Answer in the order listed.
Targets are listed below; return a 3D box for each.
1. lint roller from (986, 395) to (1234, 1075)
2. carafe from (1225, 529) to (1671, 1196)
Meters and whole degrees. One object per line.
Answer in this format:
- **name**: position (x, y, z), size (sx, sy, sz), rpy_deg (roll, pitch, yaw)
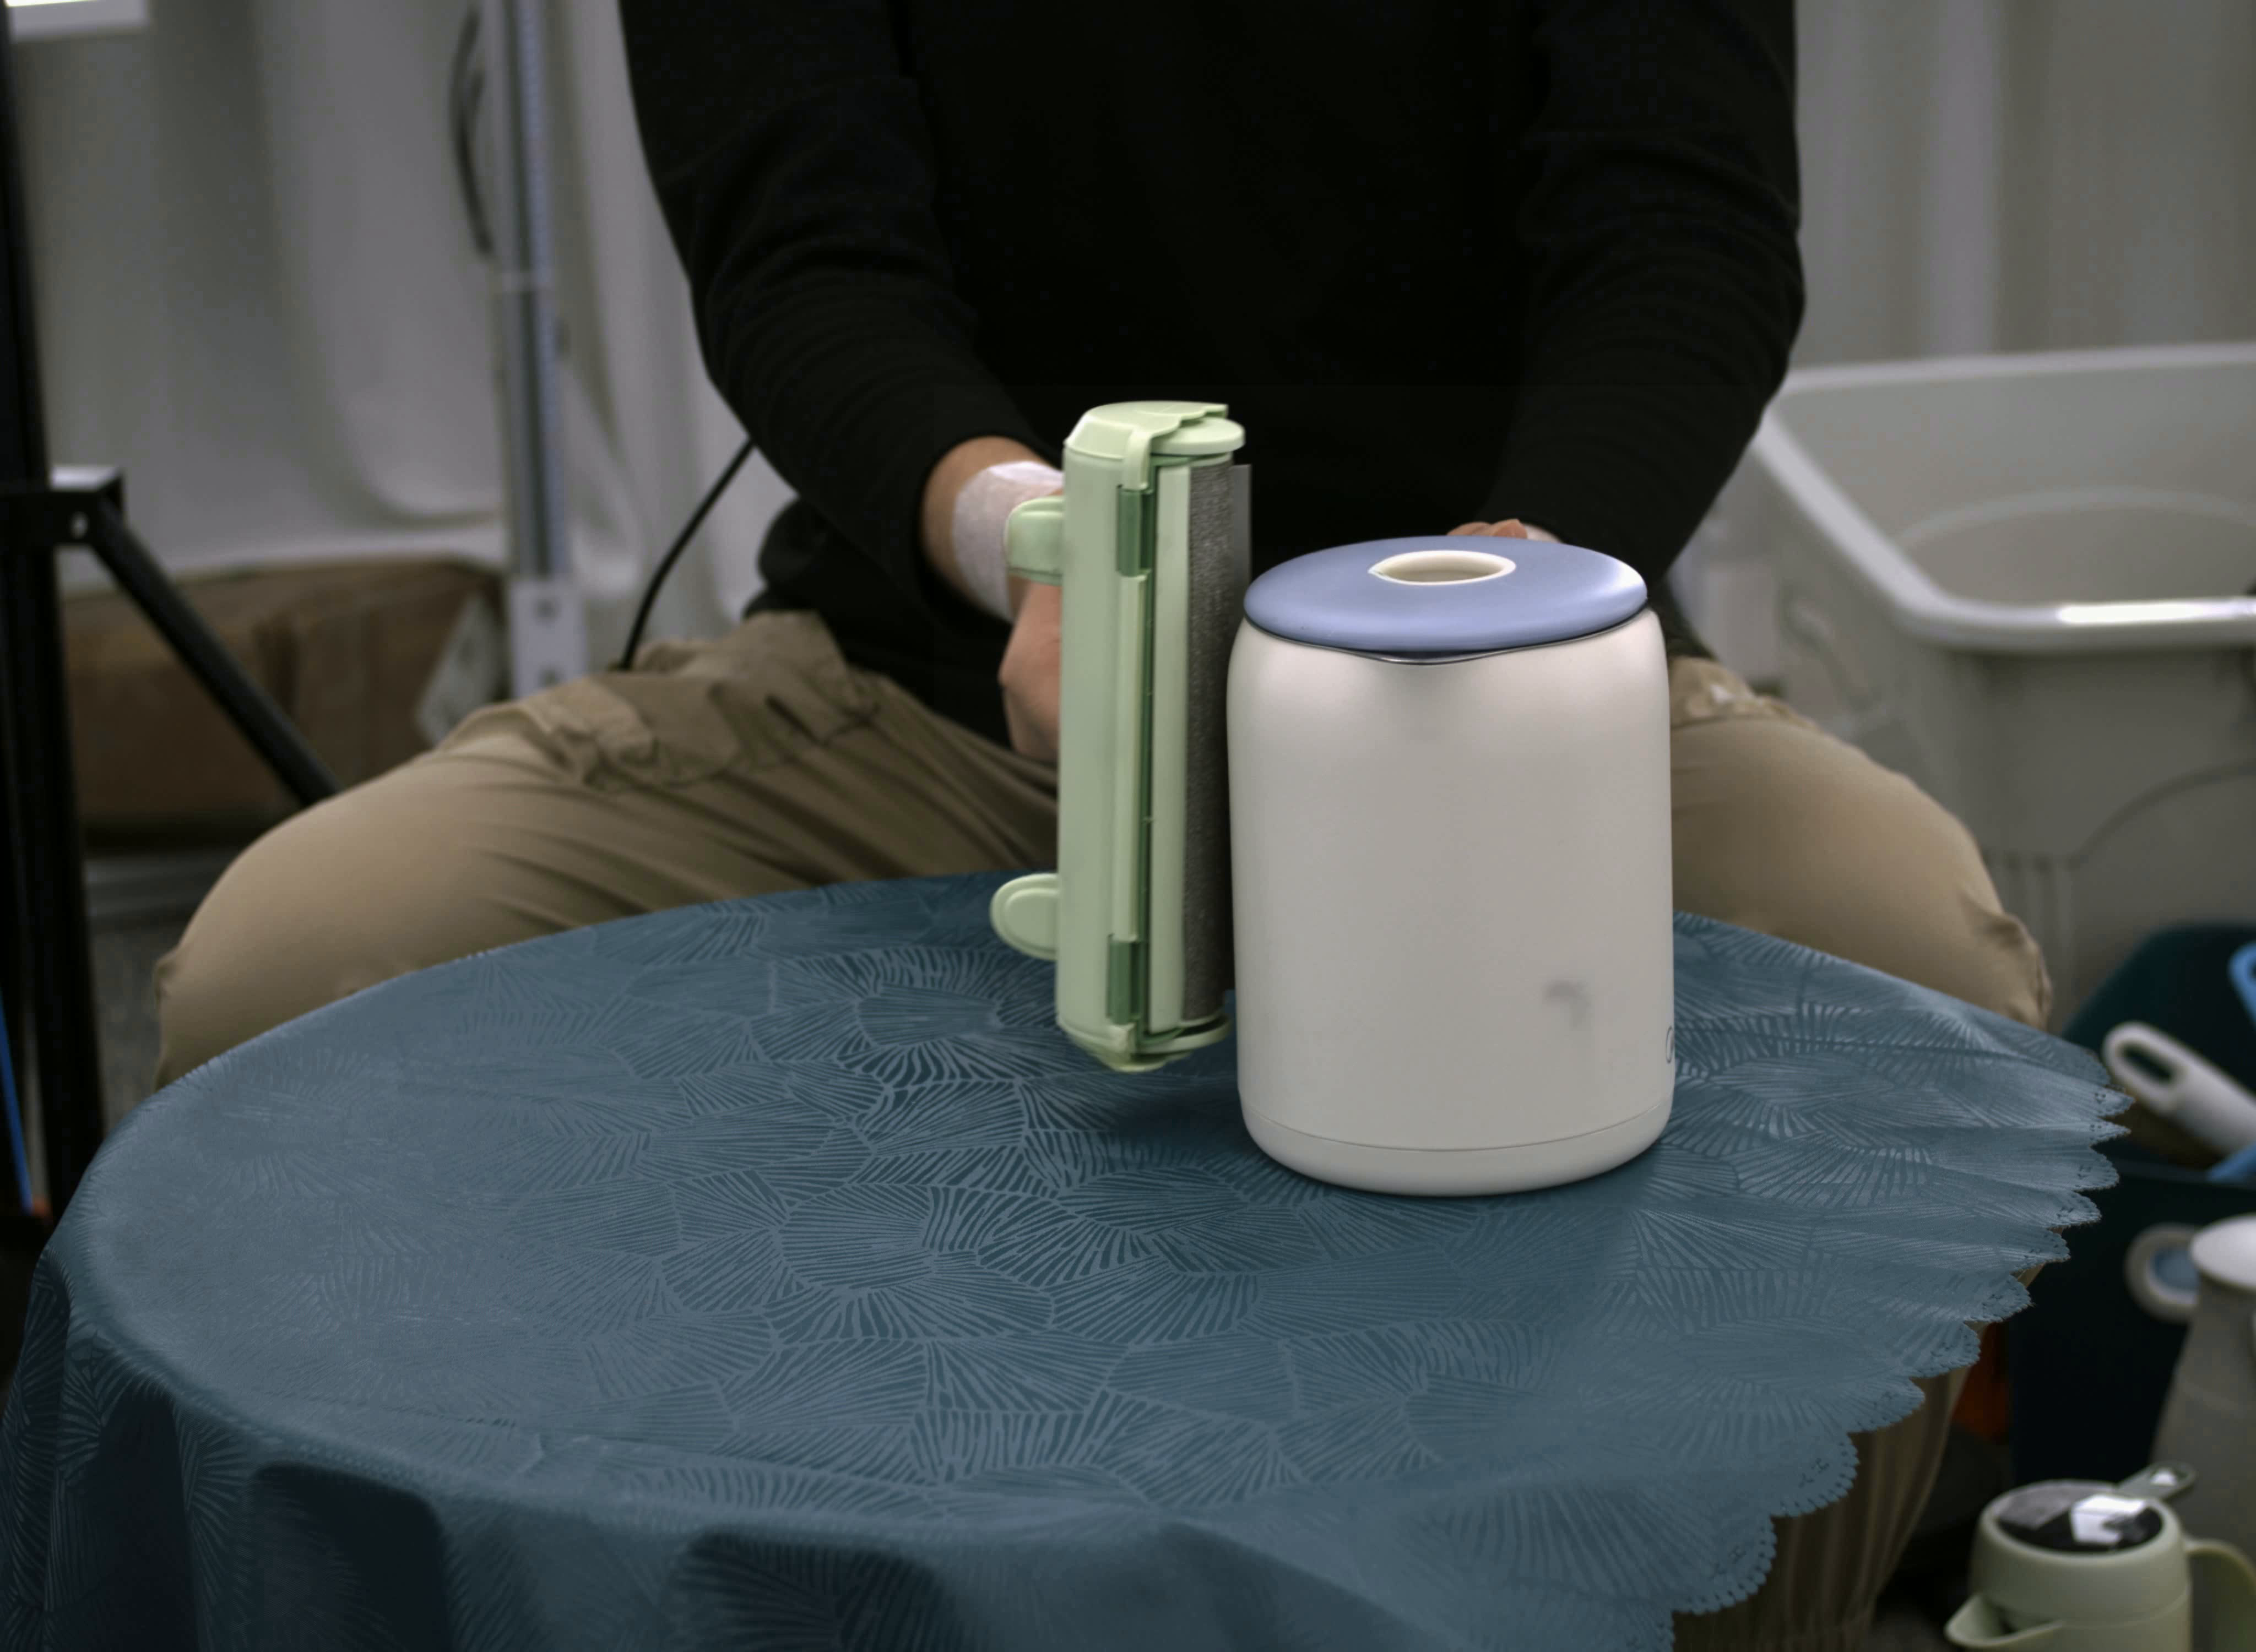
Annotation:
- **lint roller**: position (-0.005, -0.040, 1.639), size (0.081, 0.199, 0.184), rpy_deg (0, 13, -4)
- **carafe**: position (0.098, 0.004, 1.595), size (0.132, 0.182, 0.190), rpy_deg (1, 13, 8)
